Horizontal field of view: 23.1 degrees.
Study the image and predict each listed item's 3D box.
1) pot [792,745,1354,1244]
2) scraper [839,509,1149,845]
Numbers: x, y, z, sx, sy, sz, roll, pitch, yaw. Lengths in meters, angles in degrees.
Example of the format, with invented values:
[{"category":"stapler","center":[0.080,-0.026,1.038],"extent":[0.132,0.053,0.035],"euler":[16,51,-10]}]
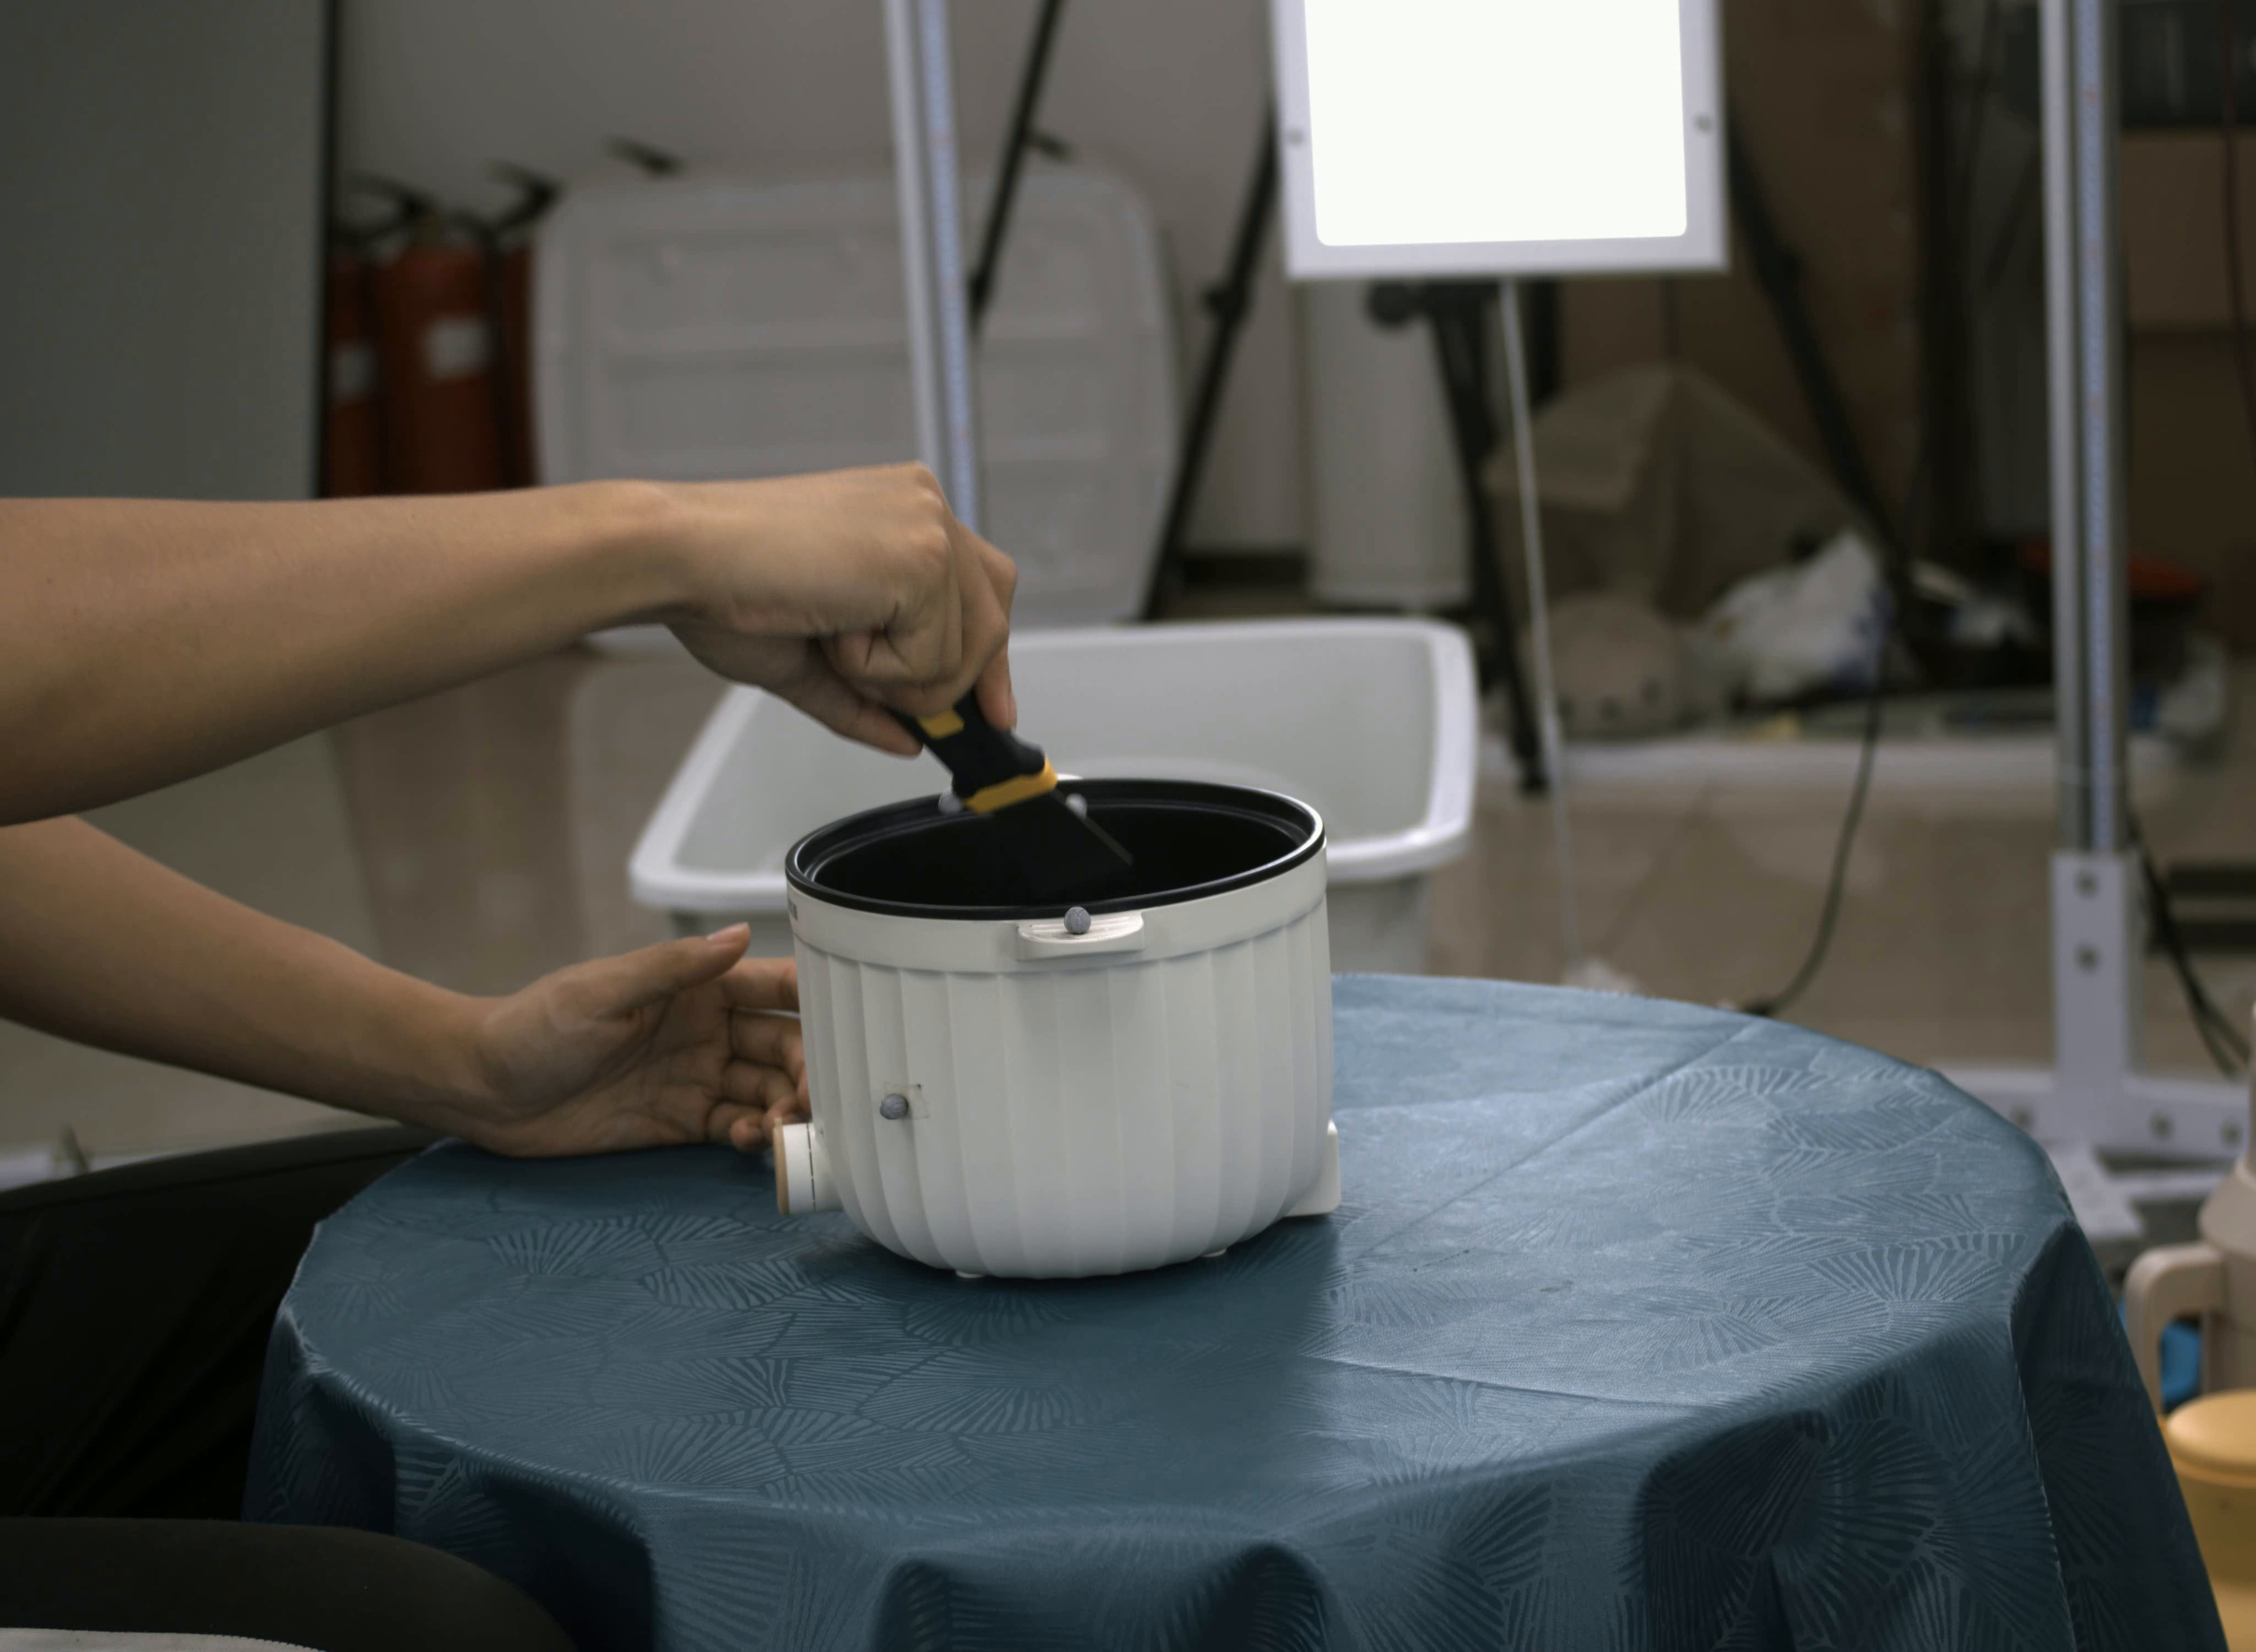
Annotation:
[{"category":"pot","center":[-0.019,0.060,1.860],"extent":[0.189,0.143,0.241],"euler":[-2,12,-5]},{"category":"scraper","center":[-0.044,-0.045,1.742],"extent":[0.039,0.169,0.015],"euler":[-12,49,24]}]
